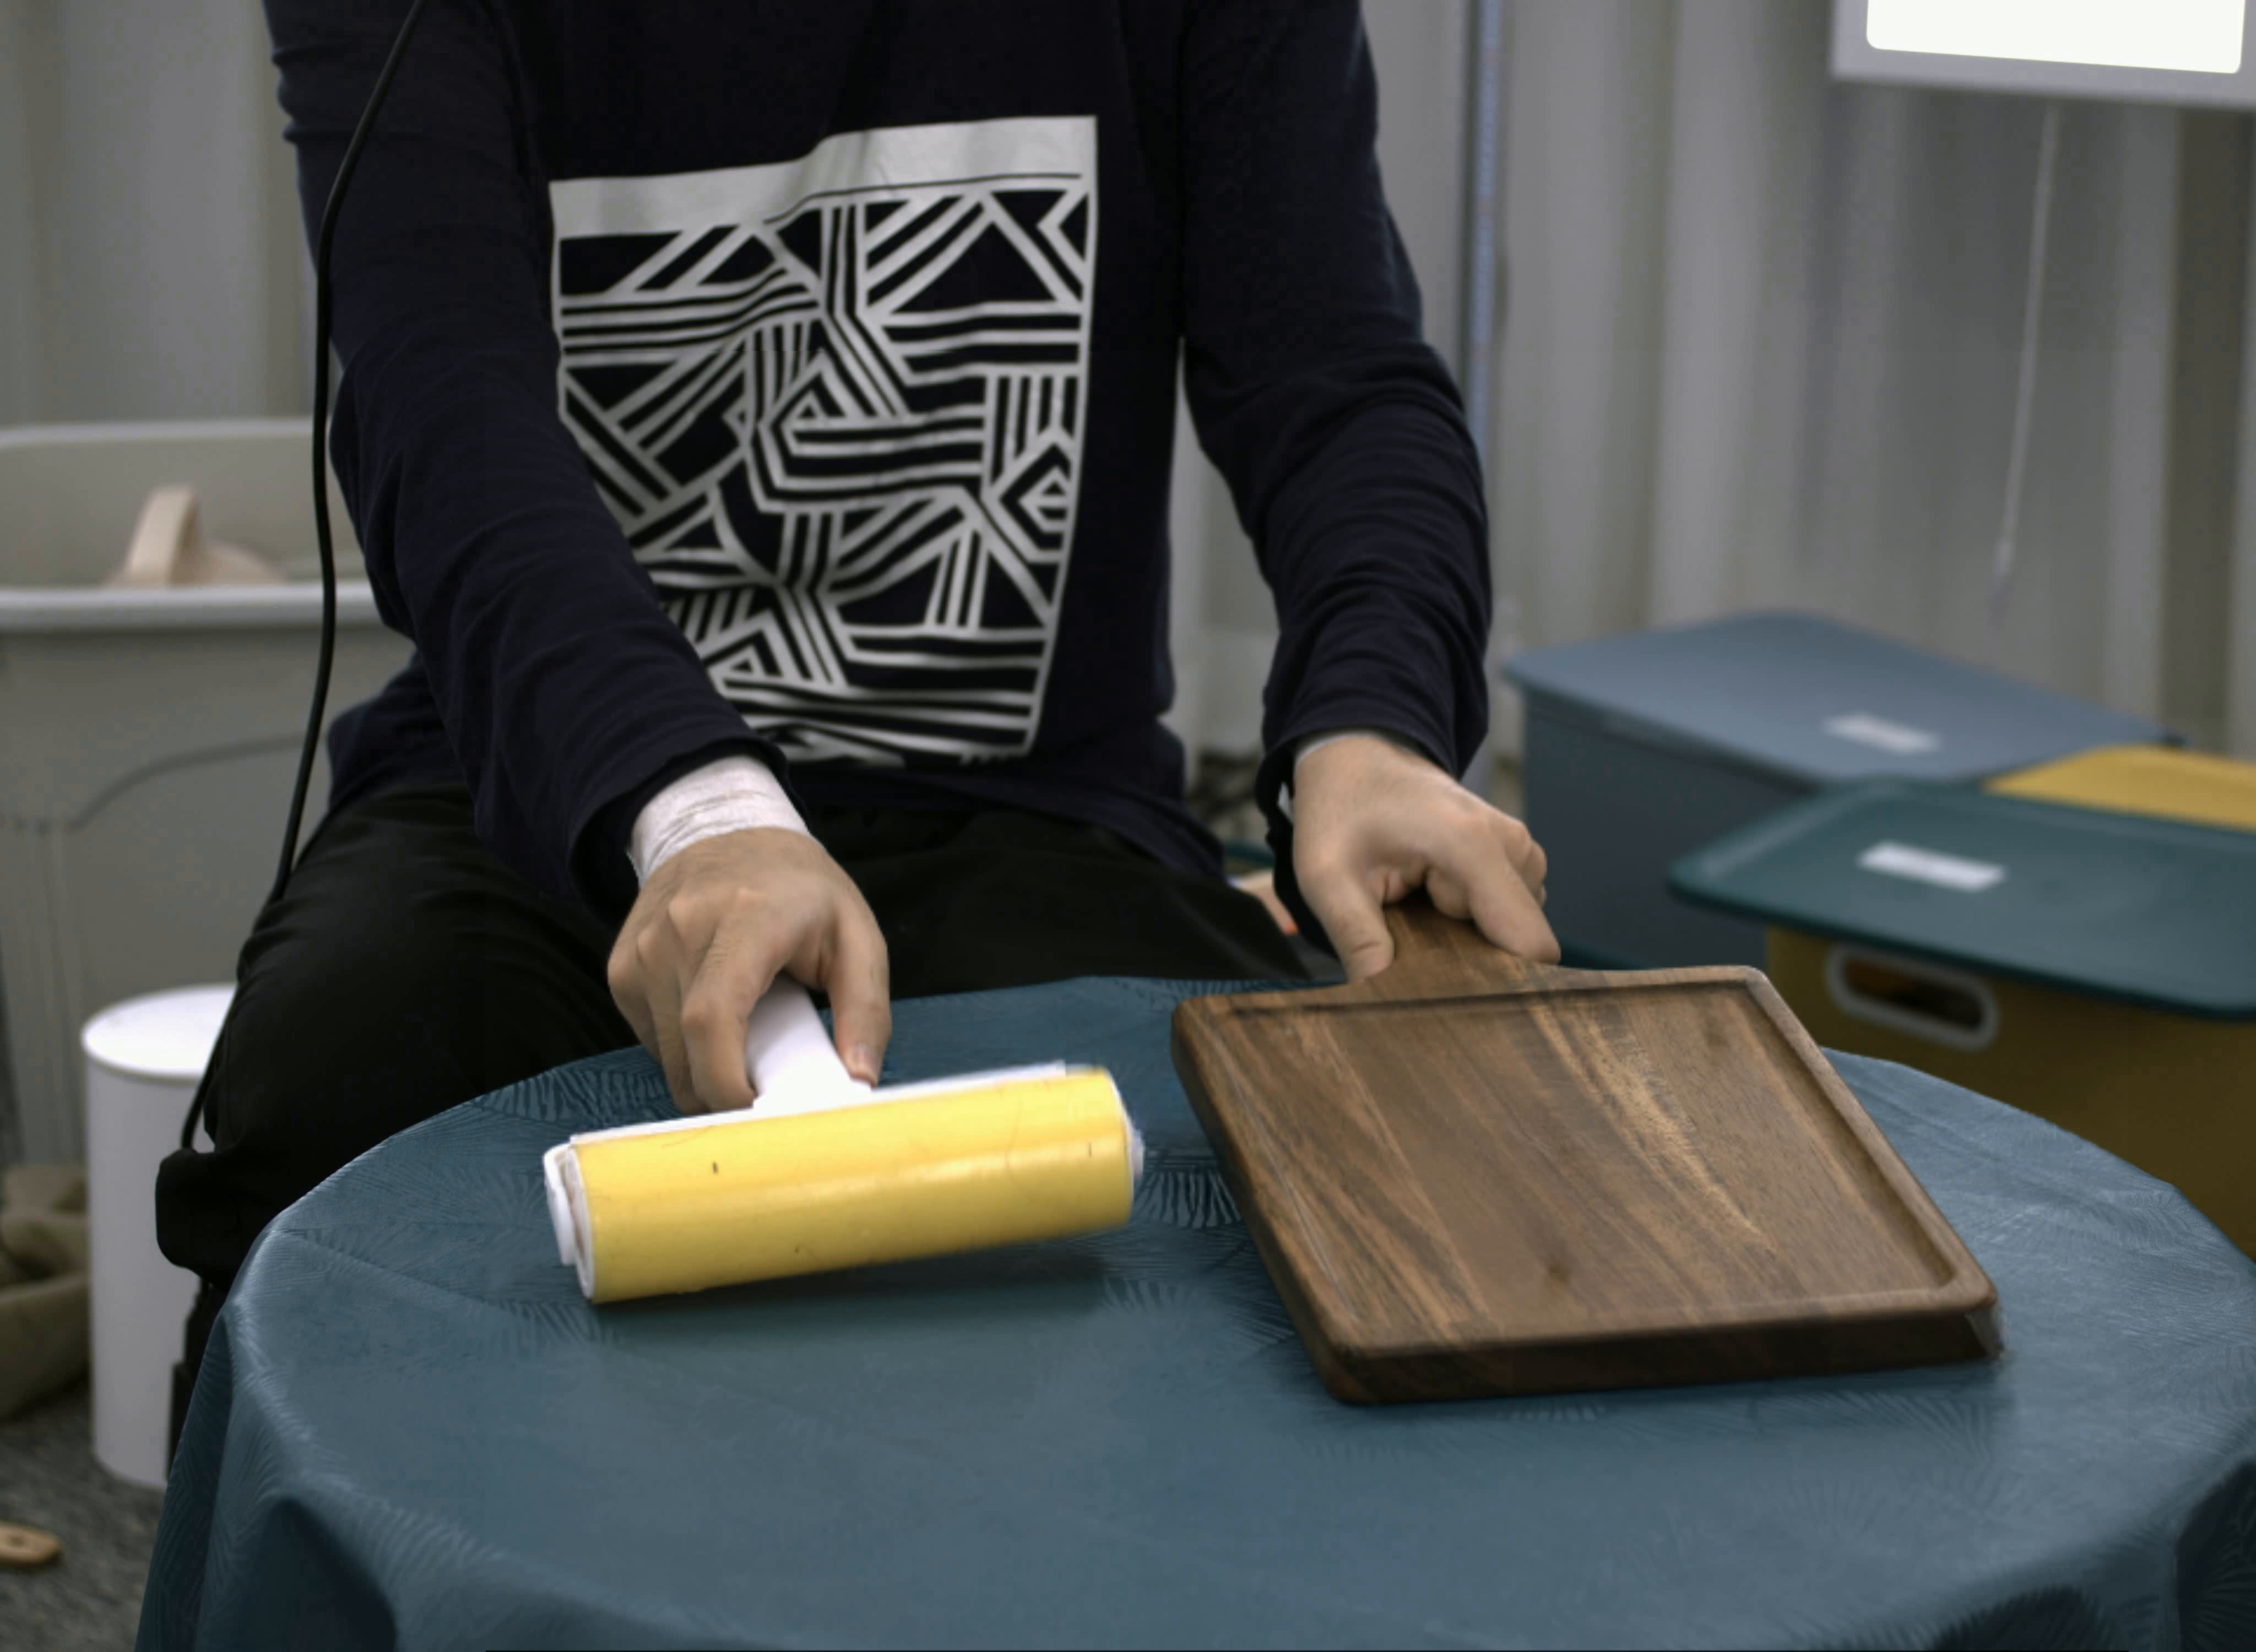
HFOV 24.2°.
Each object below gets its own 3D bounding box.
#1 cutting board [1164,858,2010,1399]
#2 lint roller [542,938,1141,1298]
[{"bbox_3d":[0.122,0.083,1.621,0.201,0.023,0.348,-2,22,-11],"label":"cutting board"},{"bbox_3d":[-0.102,0.069,1.597,0.174,0.052,0.189,-9,32,-14],"label":"lint roller"}]
